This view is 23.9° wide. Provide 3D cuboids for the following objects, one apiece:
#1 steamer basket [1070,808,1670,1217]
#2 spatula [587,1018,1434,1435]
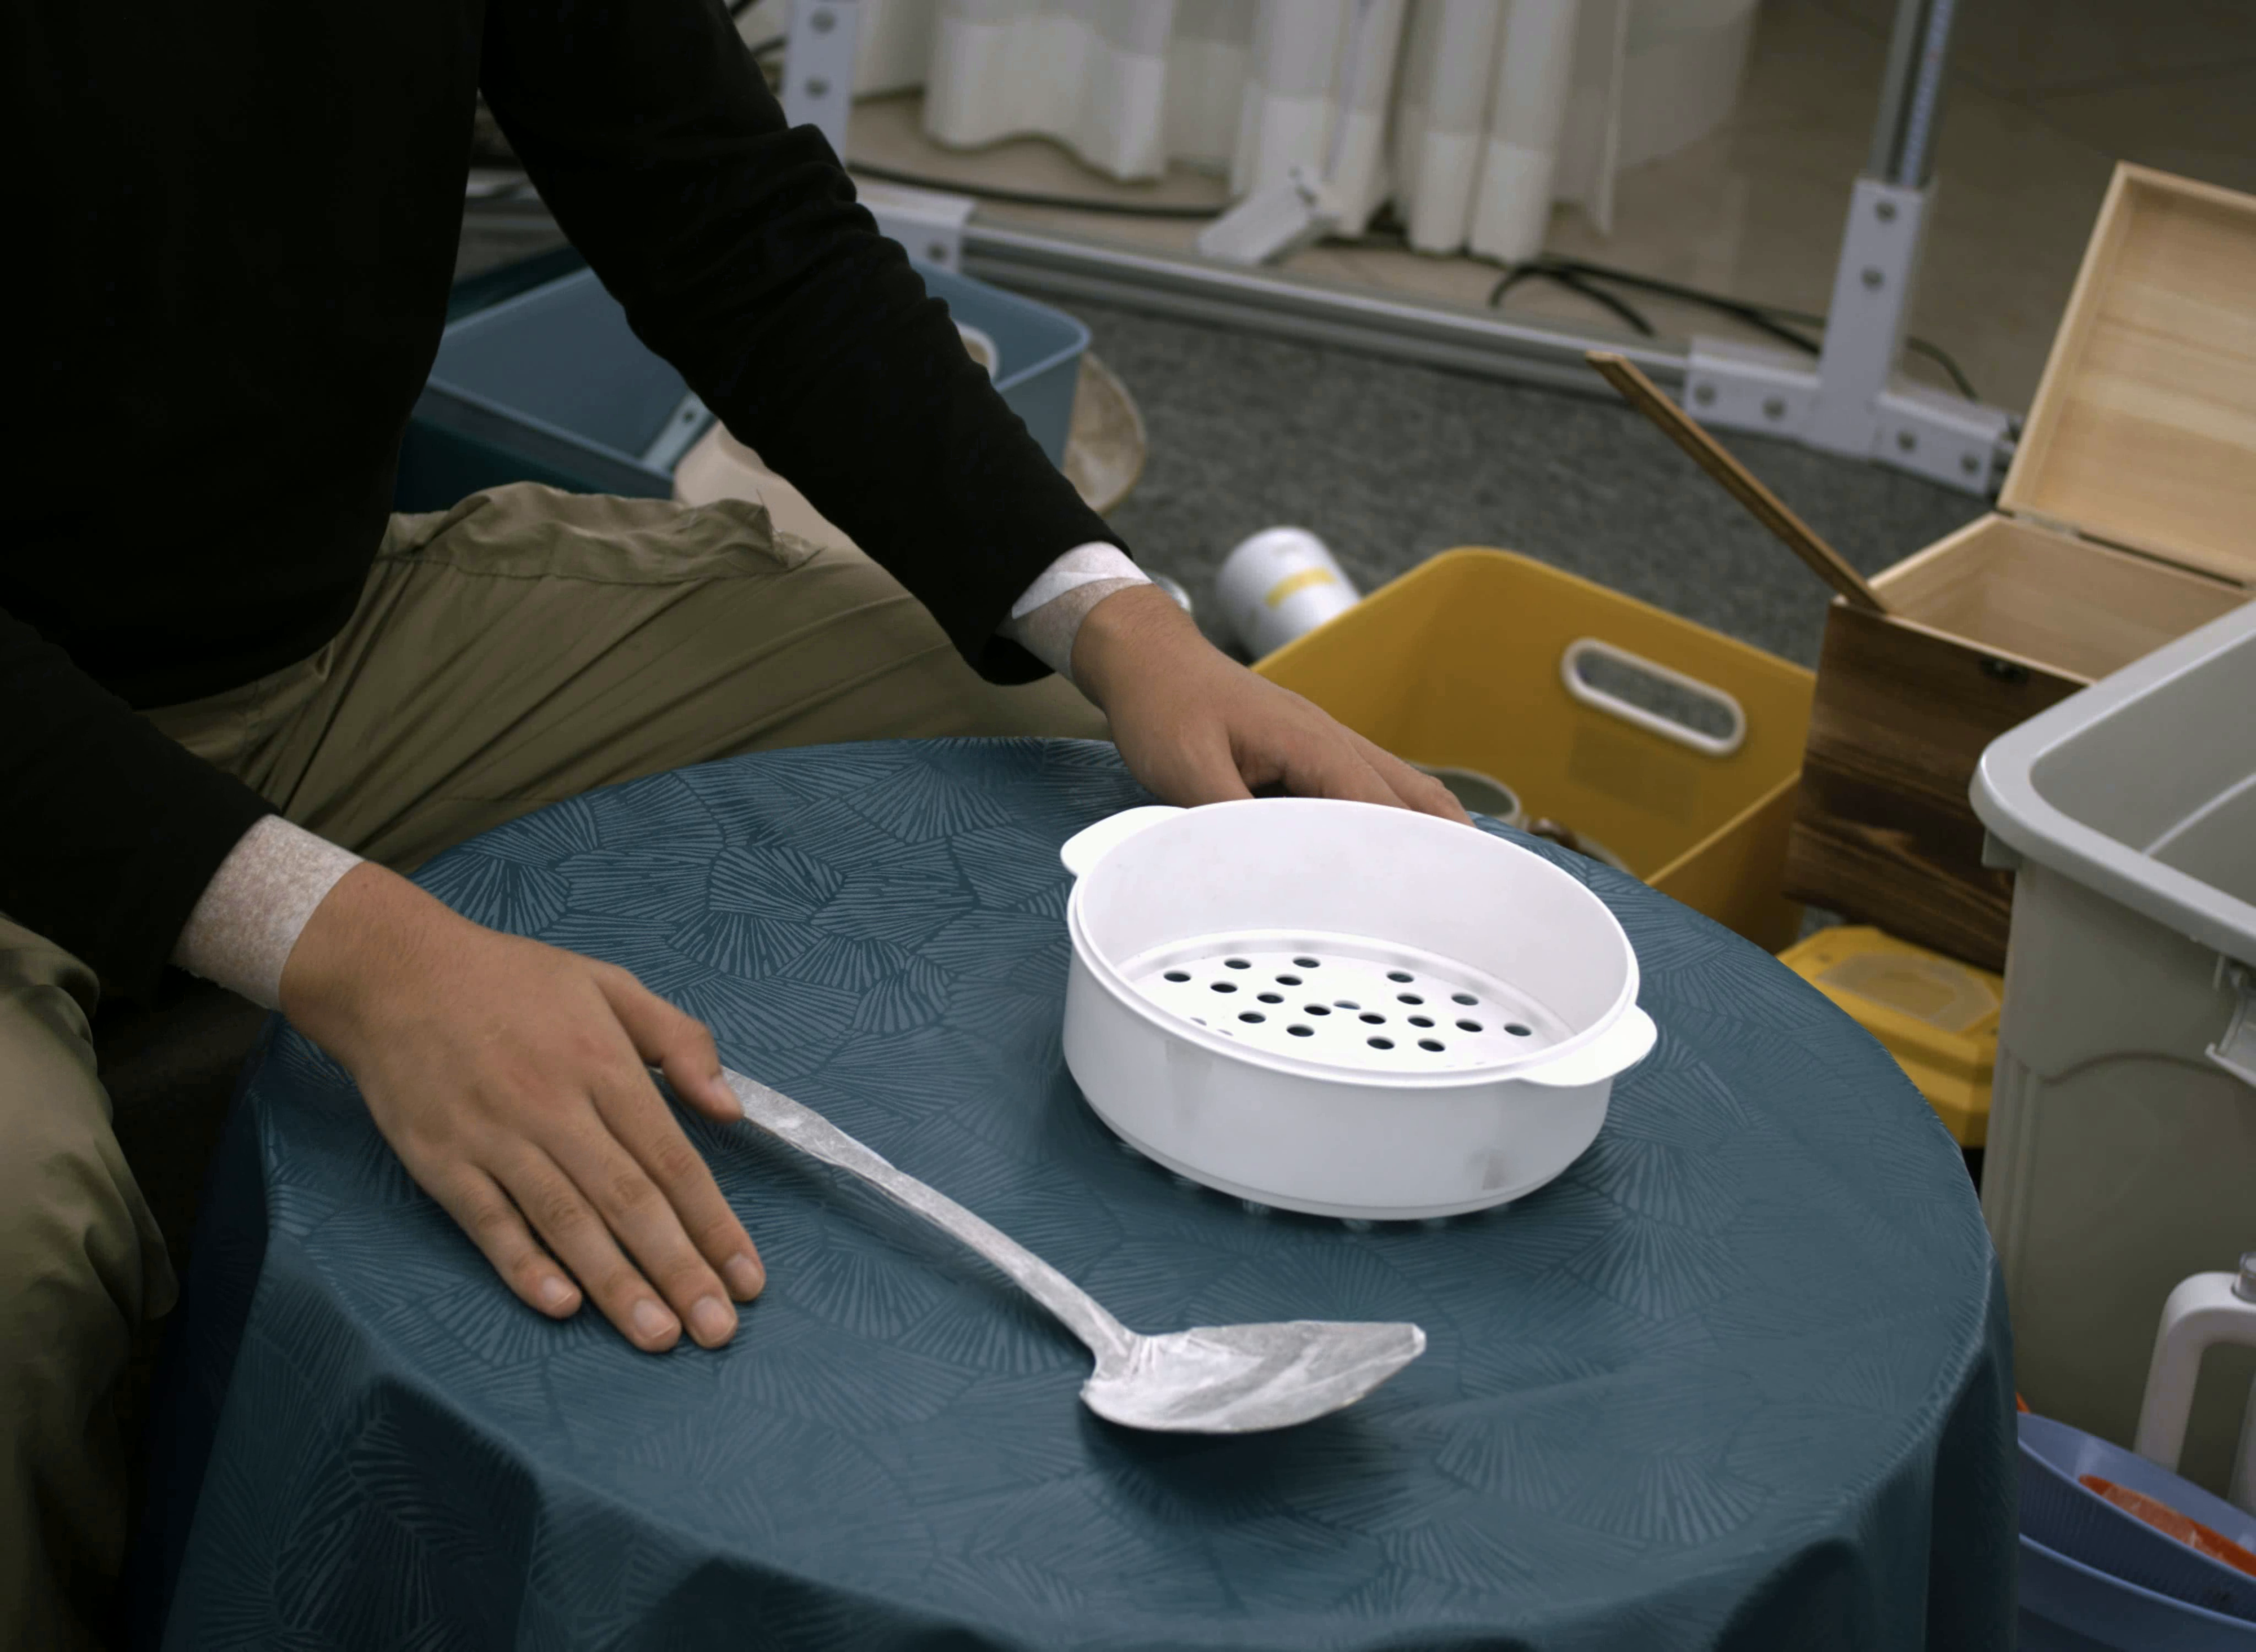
[{"bbox_3d":[0.079,0.066,1.857,0.232,0.069,0.201,23,30,32],"label":"steamer basket"},{"bbox_3d":[-0.060,0.123,1.749,0.367,0.044,0.098,27,36,35],"label":"spatula"}]
